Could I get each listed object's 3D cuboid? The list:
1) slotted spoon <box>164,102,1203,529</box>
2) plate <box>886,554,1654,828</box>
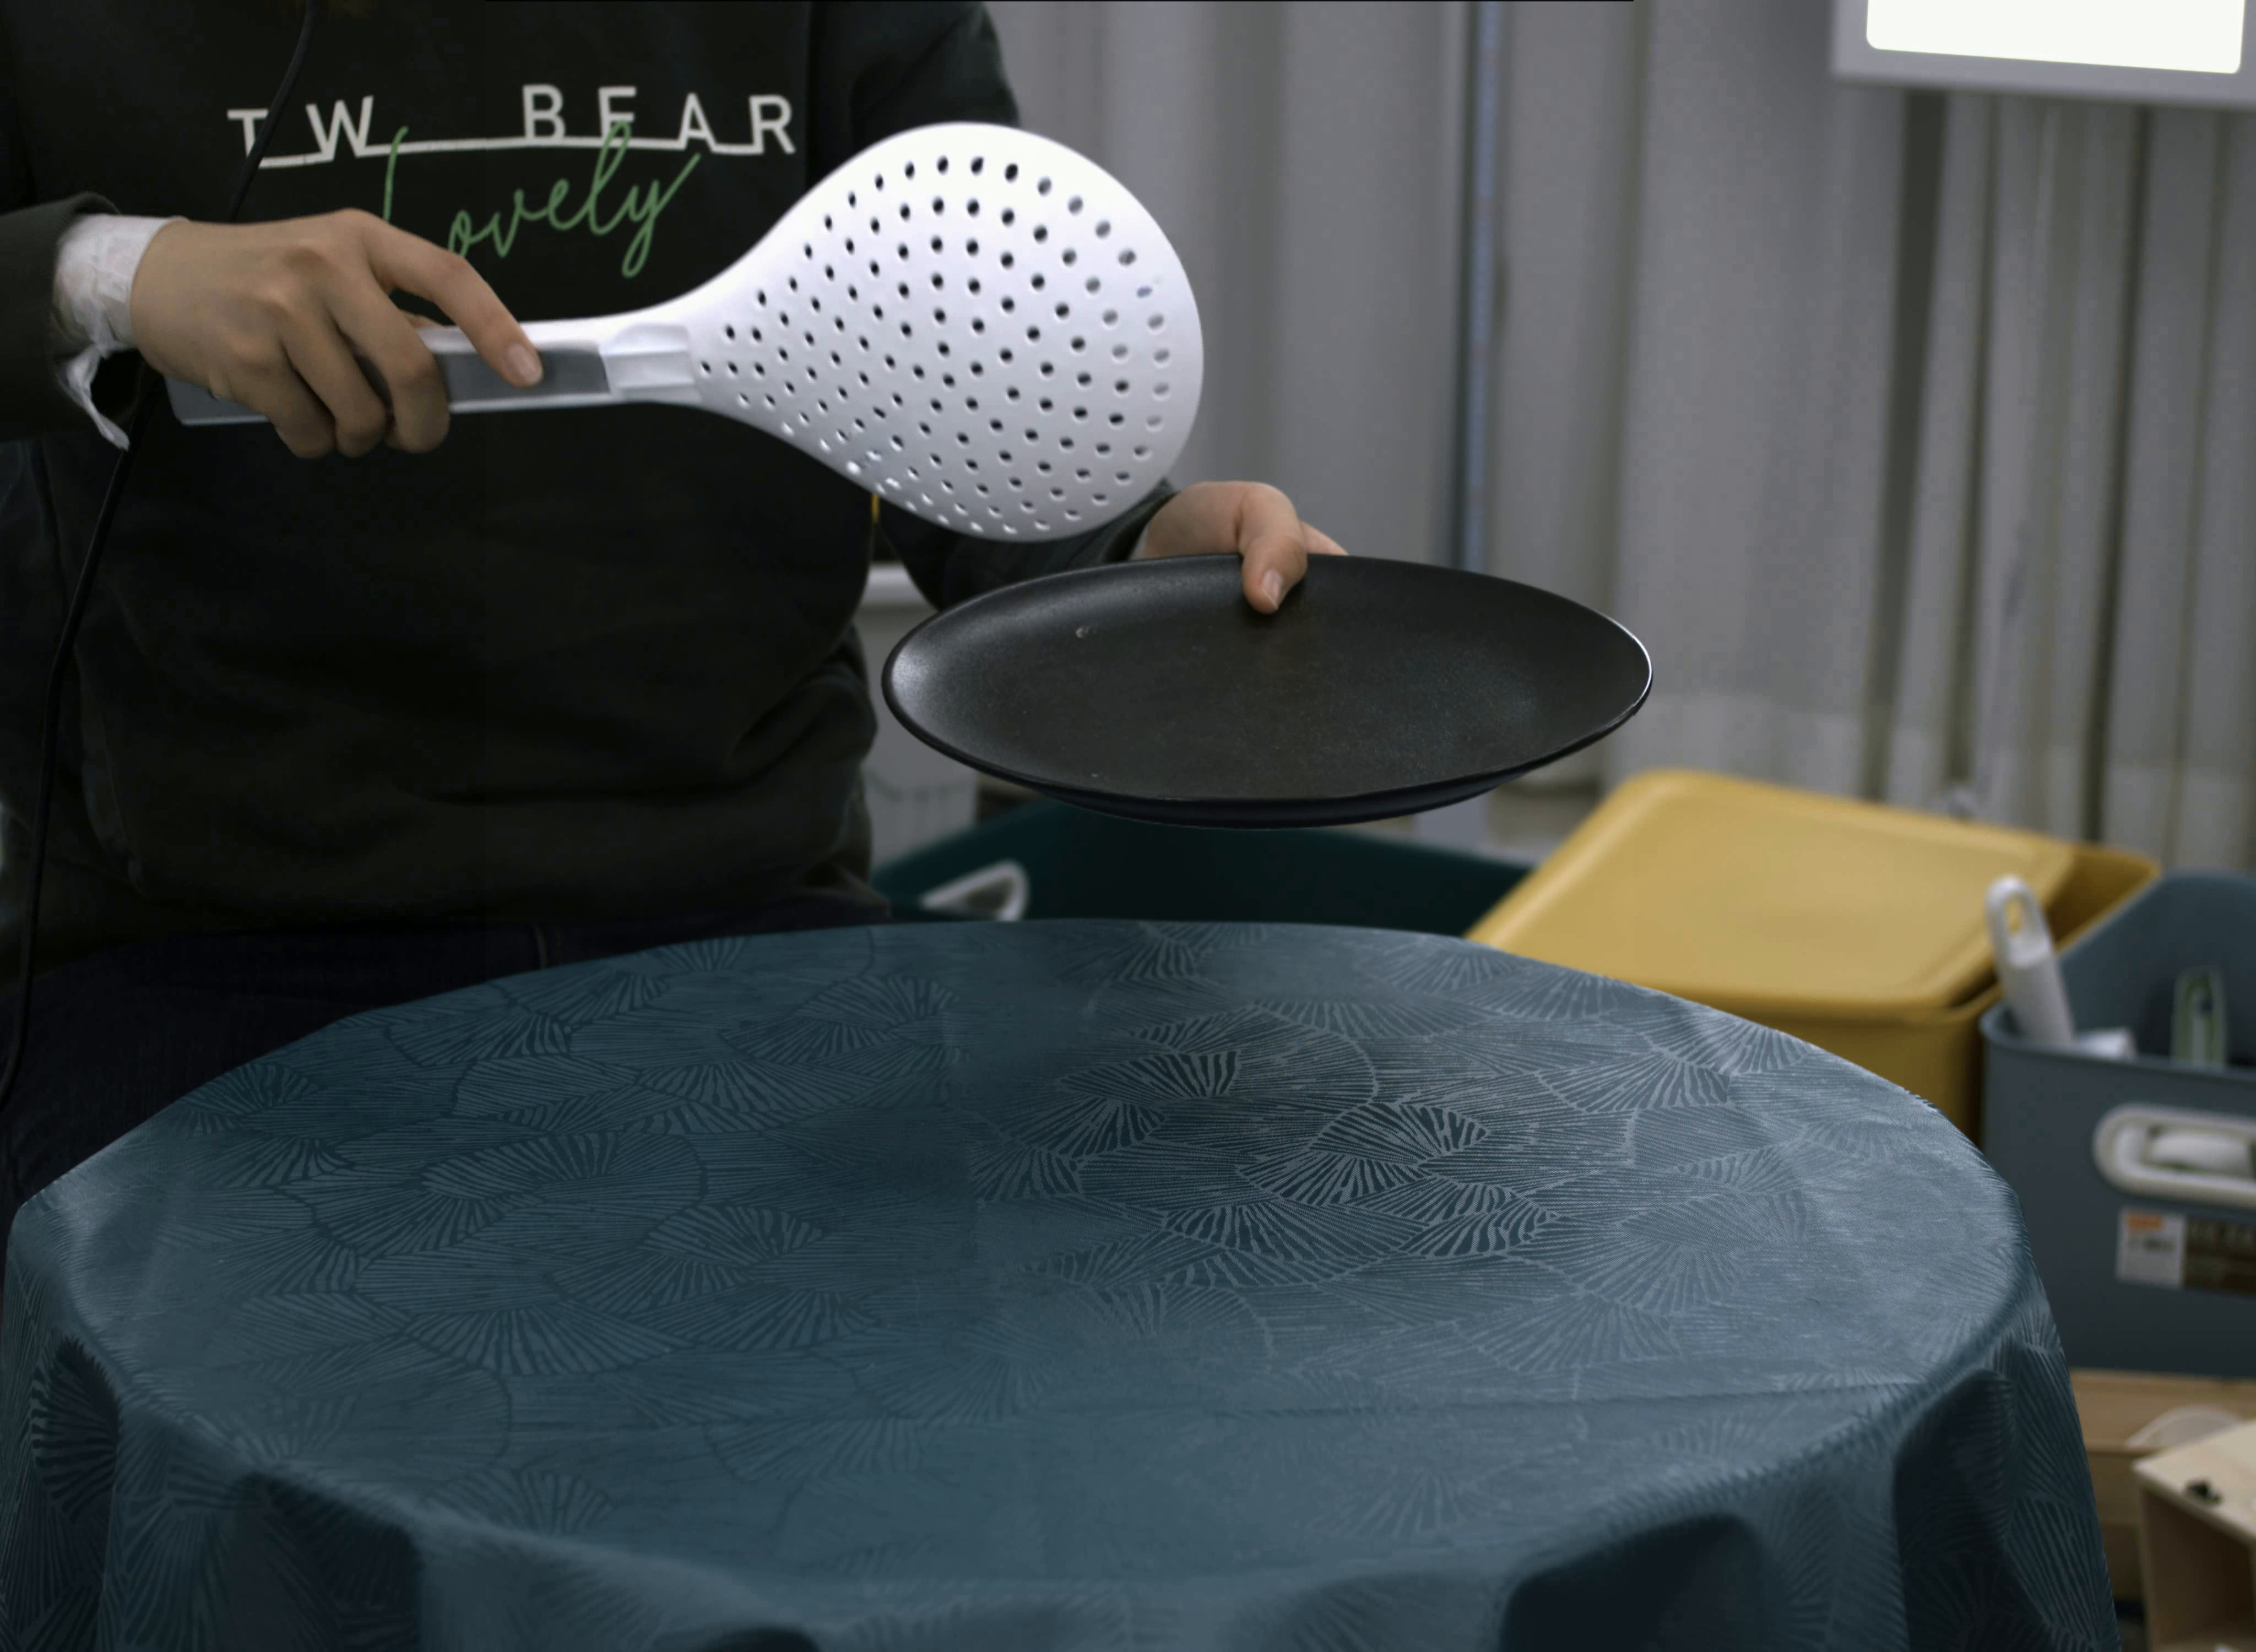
[{"bbox_3d":[-0.145,-0.150,1.639,0.346,0.137,0.045,0,24,24],"label":"slotted spoon"},{"bbox_3d":[0.045,-0.040,1.665,0.243,0.023,0.243,-1,21,1],"label":"plate"}]
